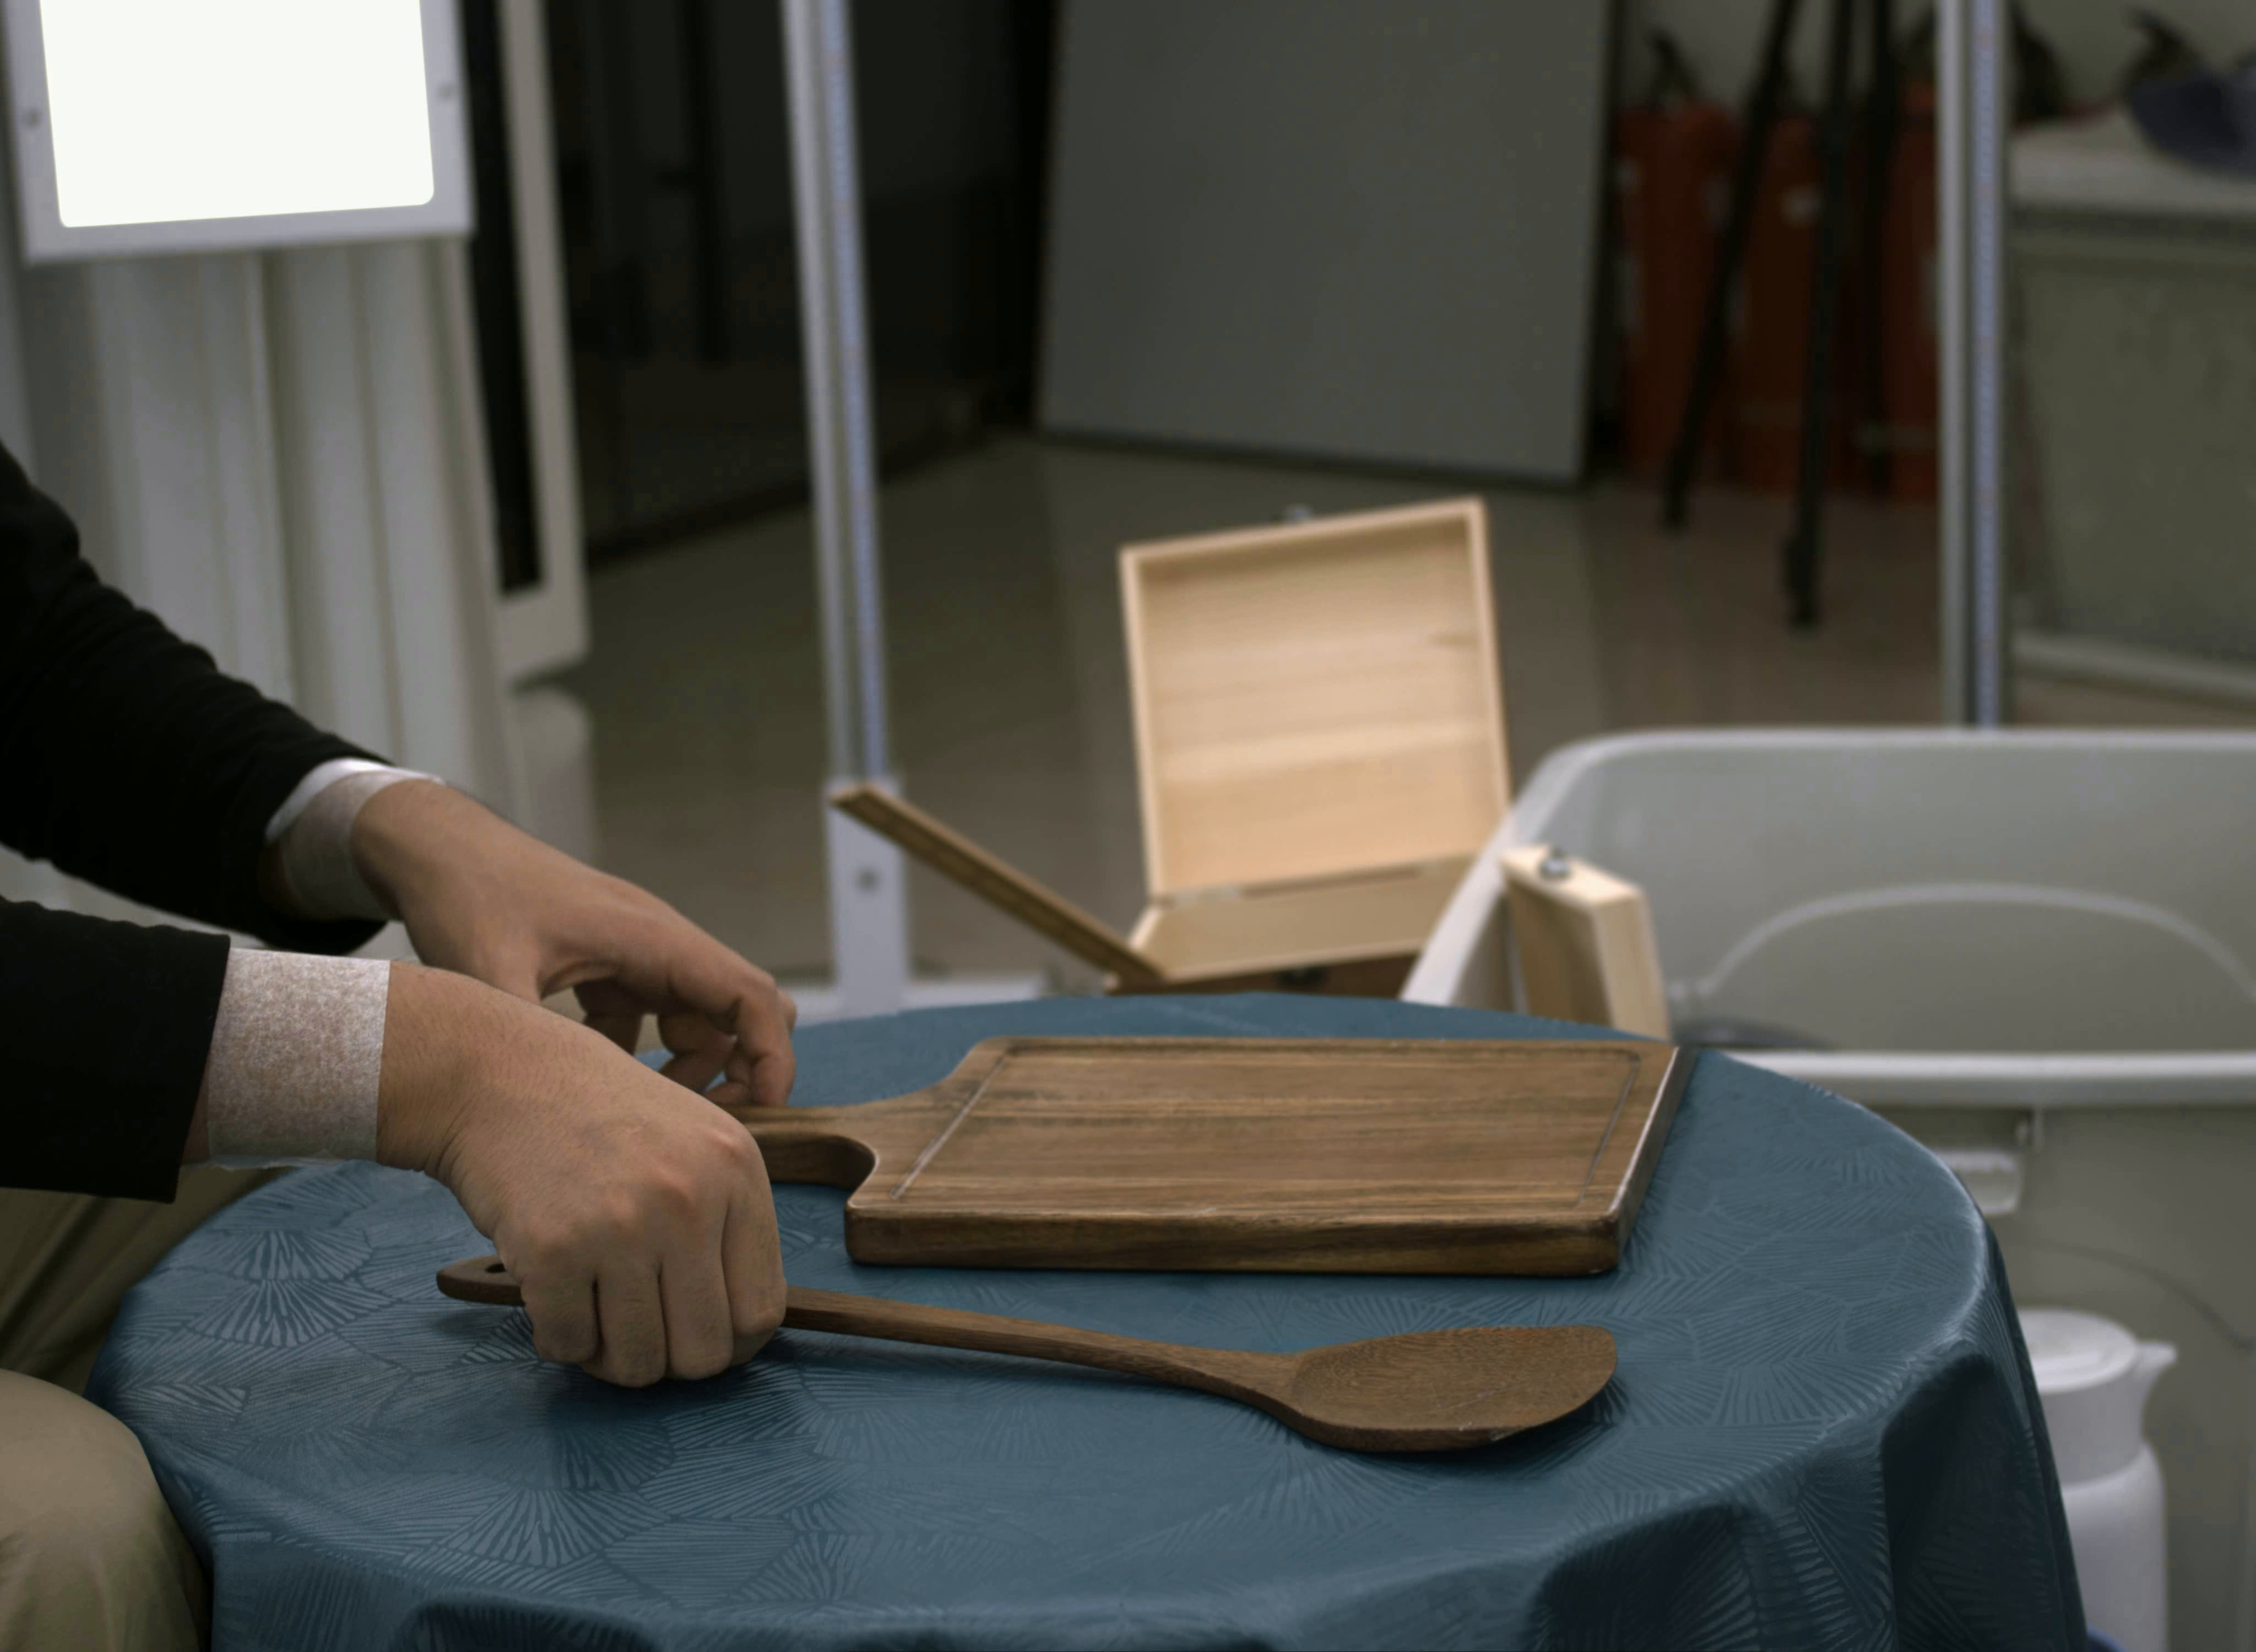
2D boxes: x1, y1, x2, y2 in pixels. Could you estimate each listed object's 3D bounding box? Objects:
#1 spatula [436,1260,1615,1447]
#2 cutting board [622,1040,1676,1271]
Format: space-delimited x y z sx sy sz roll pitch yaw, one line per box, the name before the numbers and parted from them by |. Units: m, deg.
spatula | -0.040 0.153 1.612 0.386 0.016 0.095 4 15 25
cutting board | 0.001 0.107 1.783 0.350 0.023 0.200 -1 14 14
